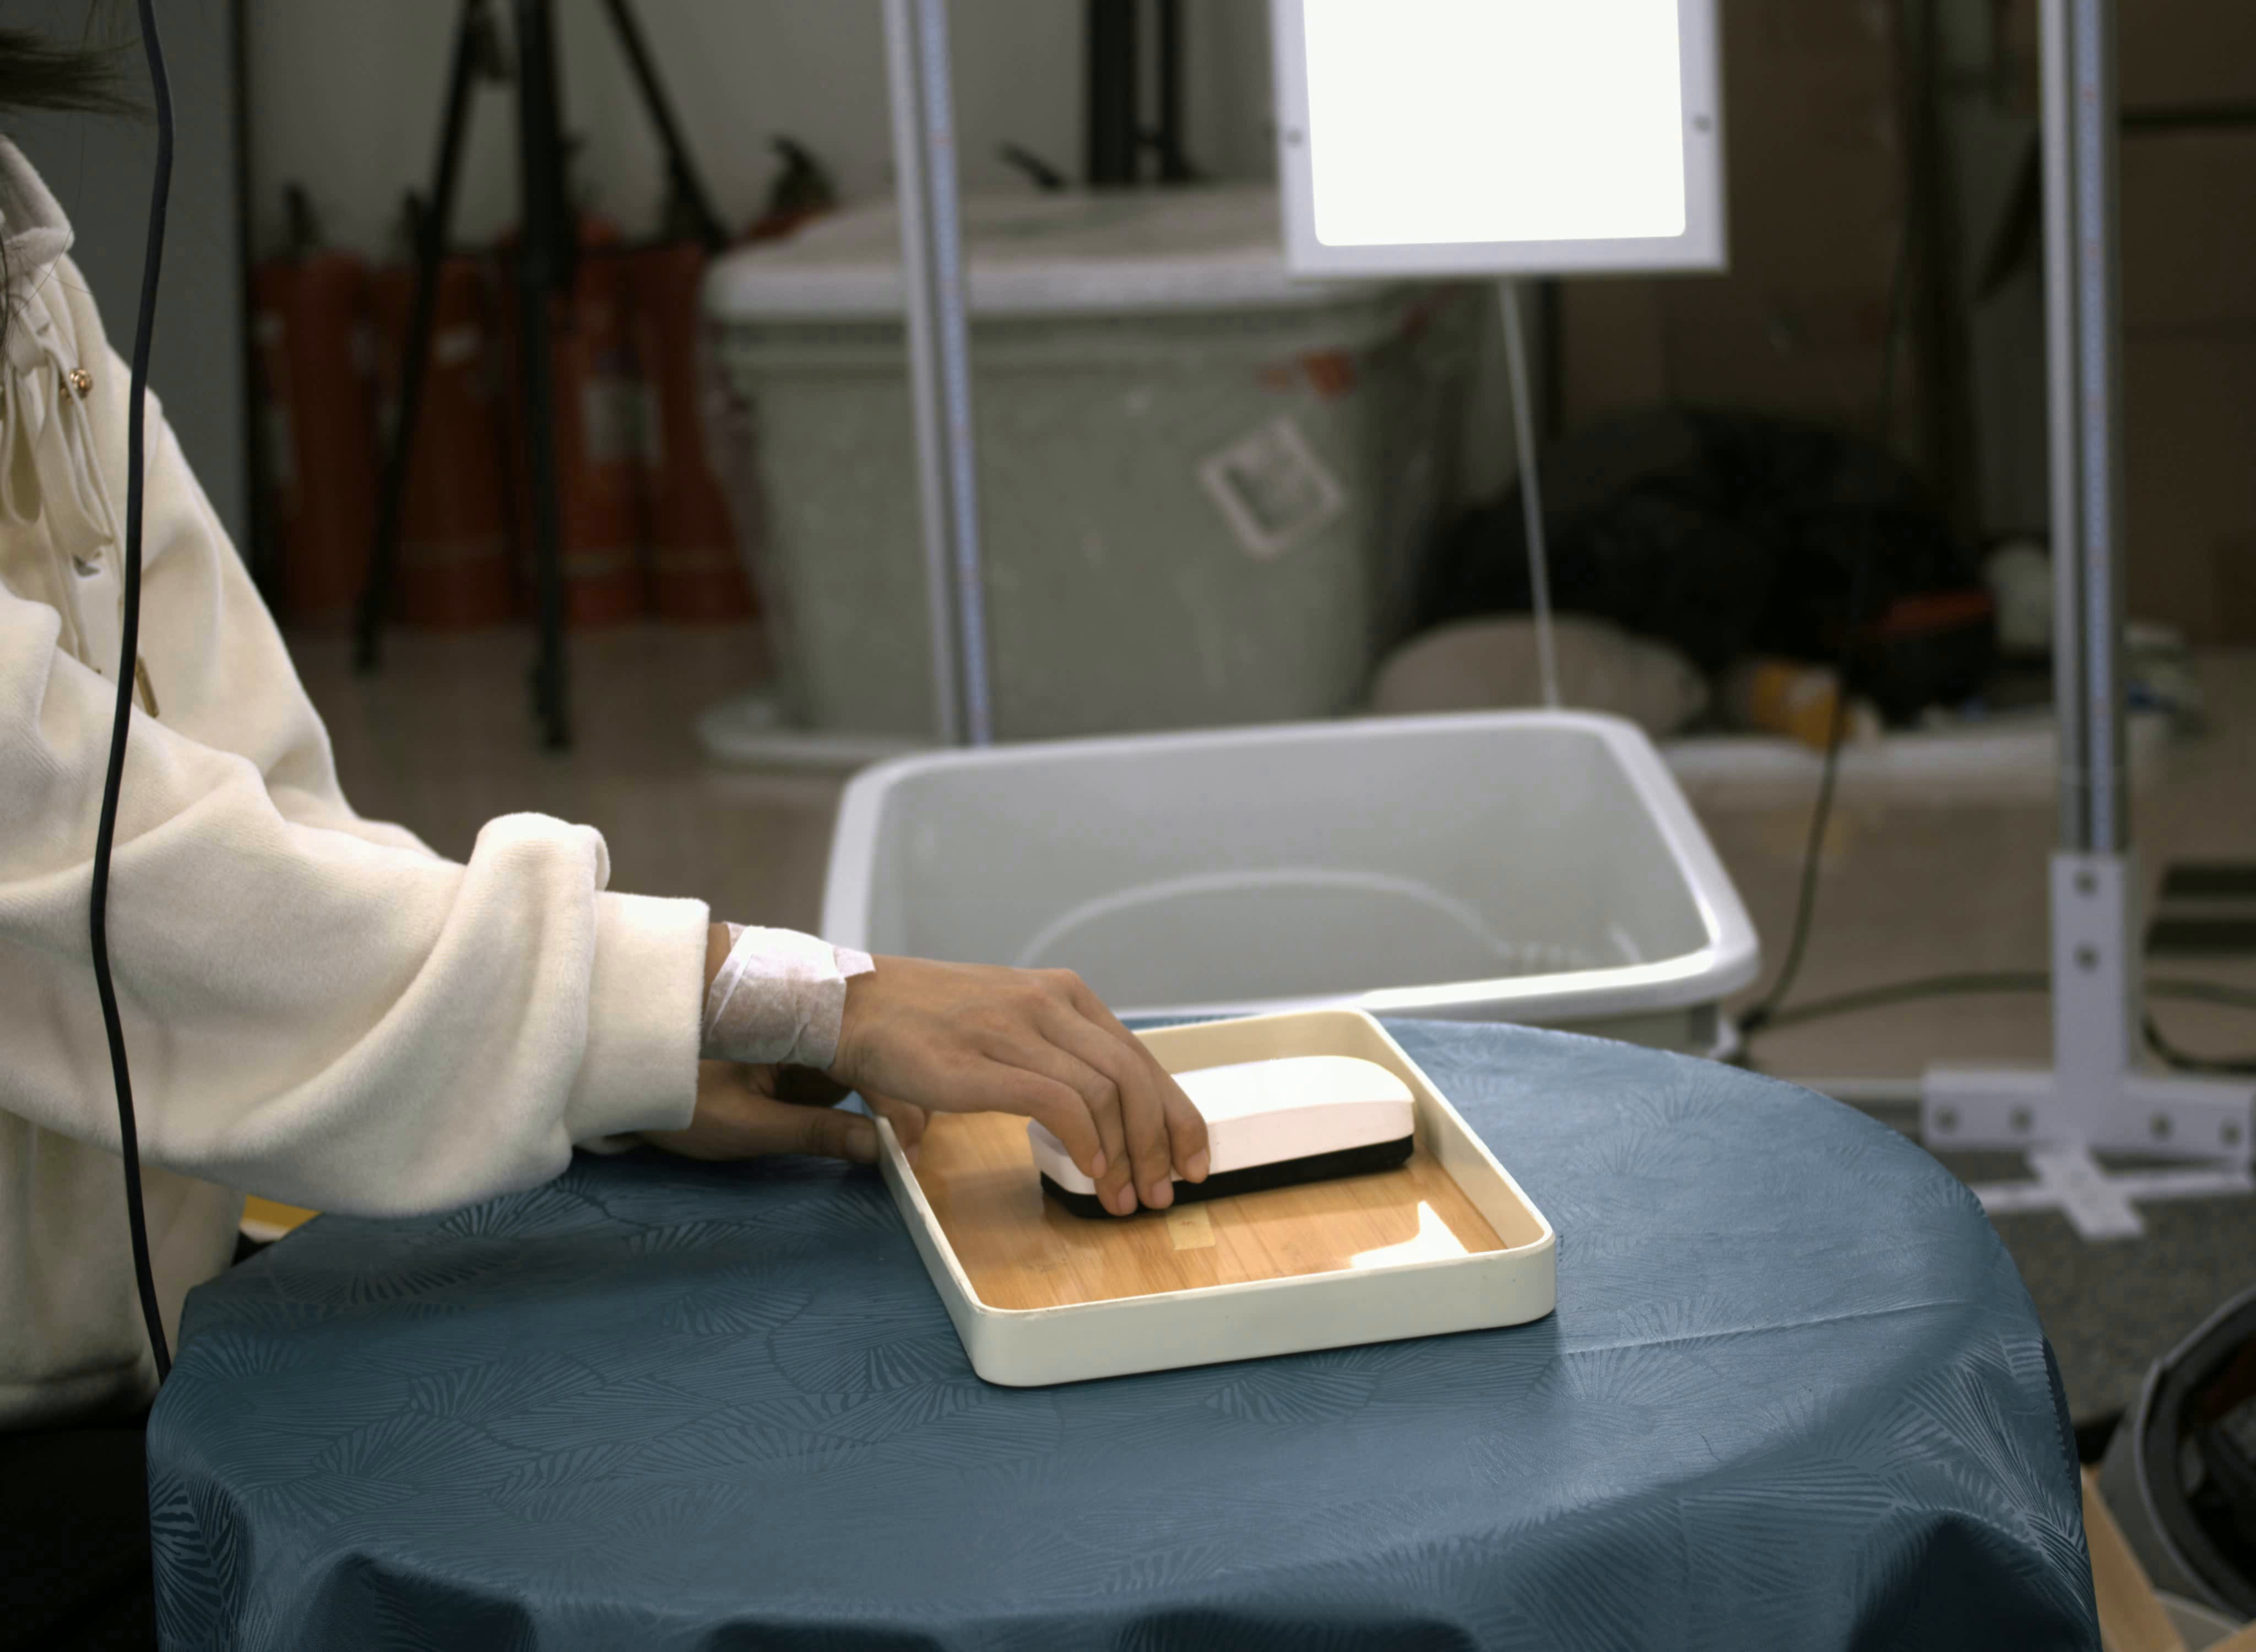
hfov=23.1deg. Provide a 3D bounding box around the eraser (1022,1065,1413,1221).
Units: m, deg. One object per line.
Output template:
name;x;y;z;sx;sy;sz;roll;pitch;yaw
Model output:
eraser;0.031;0.105;1.885;0.129;0.034;0.064;-8;14;-14

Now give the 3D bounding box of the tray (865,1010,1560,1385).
tray;0.022;0.121;1.857;0.190;0.027;0.301;-7;14;-8
